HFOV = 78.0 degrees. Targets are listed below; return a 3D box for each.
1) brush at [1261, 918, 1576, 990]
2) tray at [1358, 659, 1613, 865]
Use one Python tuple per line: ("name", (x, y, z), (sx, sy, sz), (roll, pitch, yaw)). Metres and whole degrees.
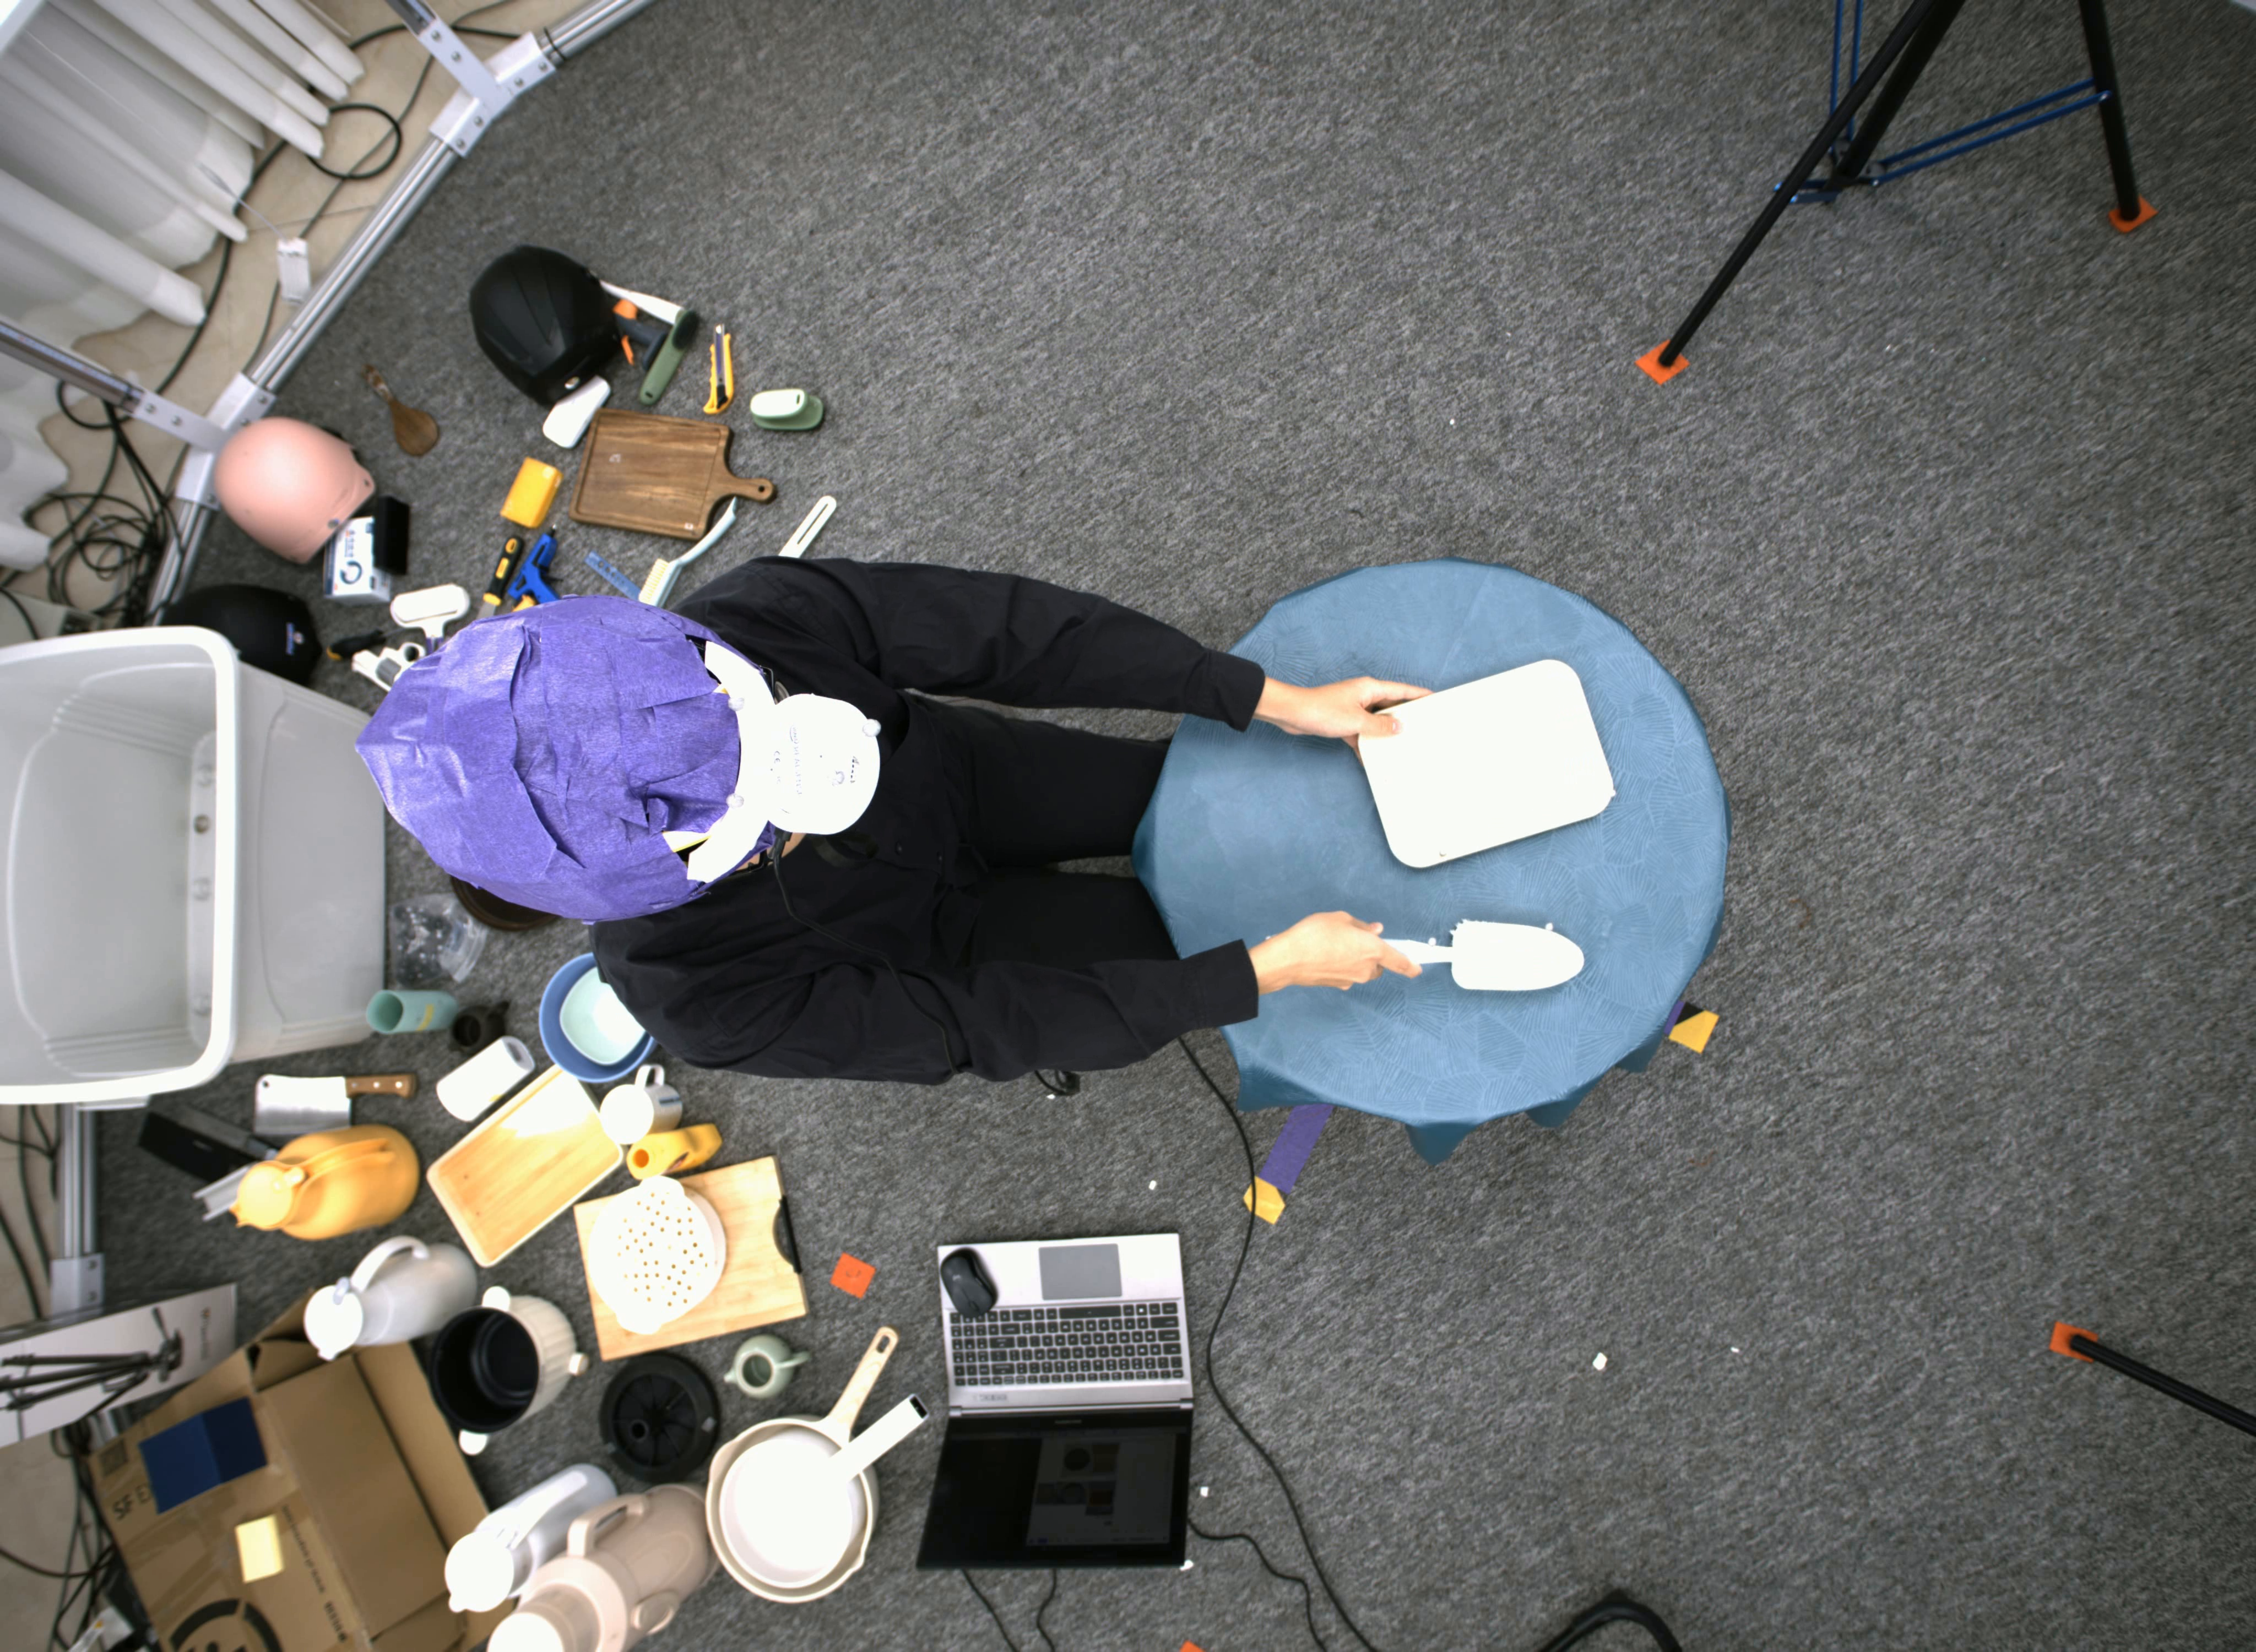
("brush", (0.292, 0.122, 1.406), (0.326, 0.087, 0.081), (3, 52, -3))
("tray", (0.371, -0.068, 1.430), (0.240, 0.017, 0.171), (-17, 88, 6))
